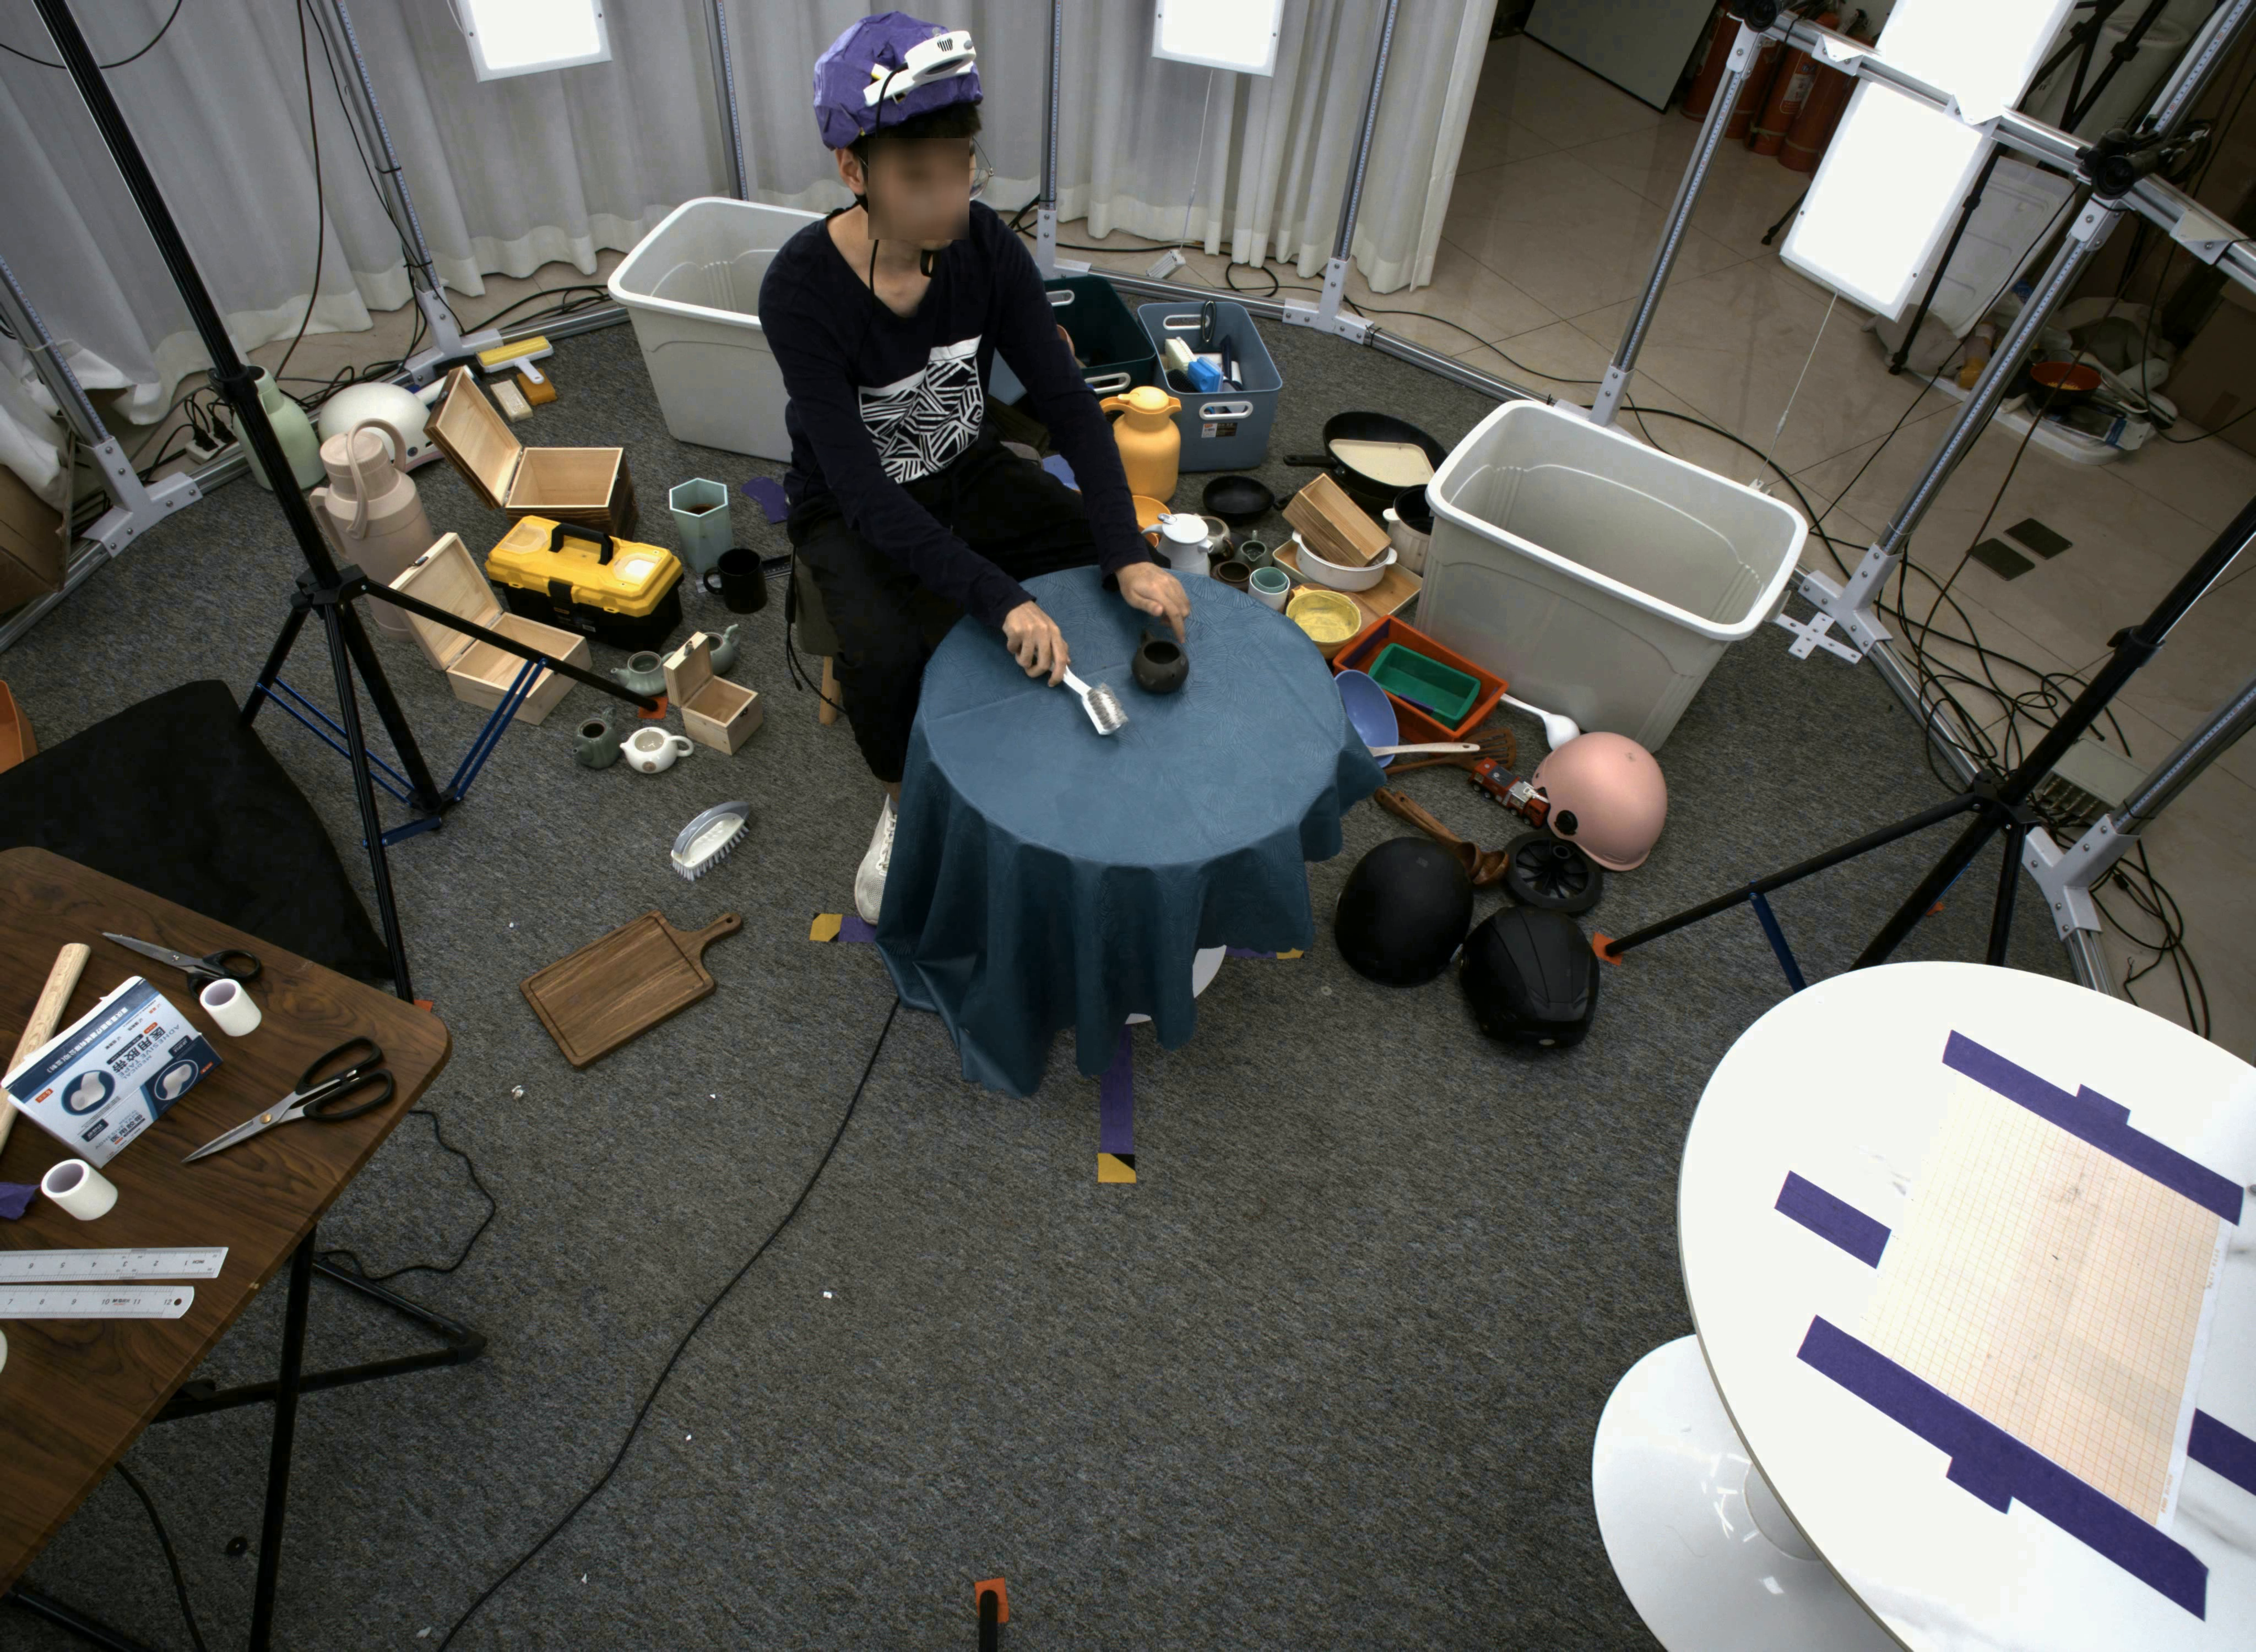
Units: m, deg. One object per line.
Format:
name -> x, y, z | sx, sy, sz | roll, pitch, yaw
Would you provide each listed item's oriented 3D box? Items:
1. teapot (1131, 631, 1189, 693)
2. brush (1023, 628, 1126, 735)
teapot -> 0.042, -0.239, 1.845 | 0.083, 0.052, 0.117 | -14, 51, -15
brush -> -0.079, -0.219, 1.815 | 0.034, 0.049, 0.248 | -15, 52, -32
